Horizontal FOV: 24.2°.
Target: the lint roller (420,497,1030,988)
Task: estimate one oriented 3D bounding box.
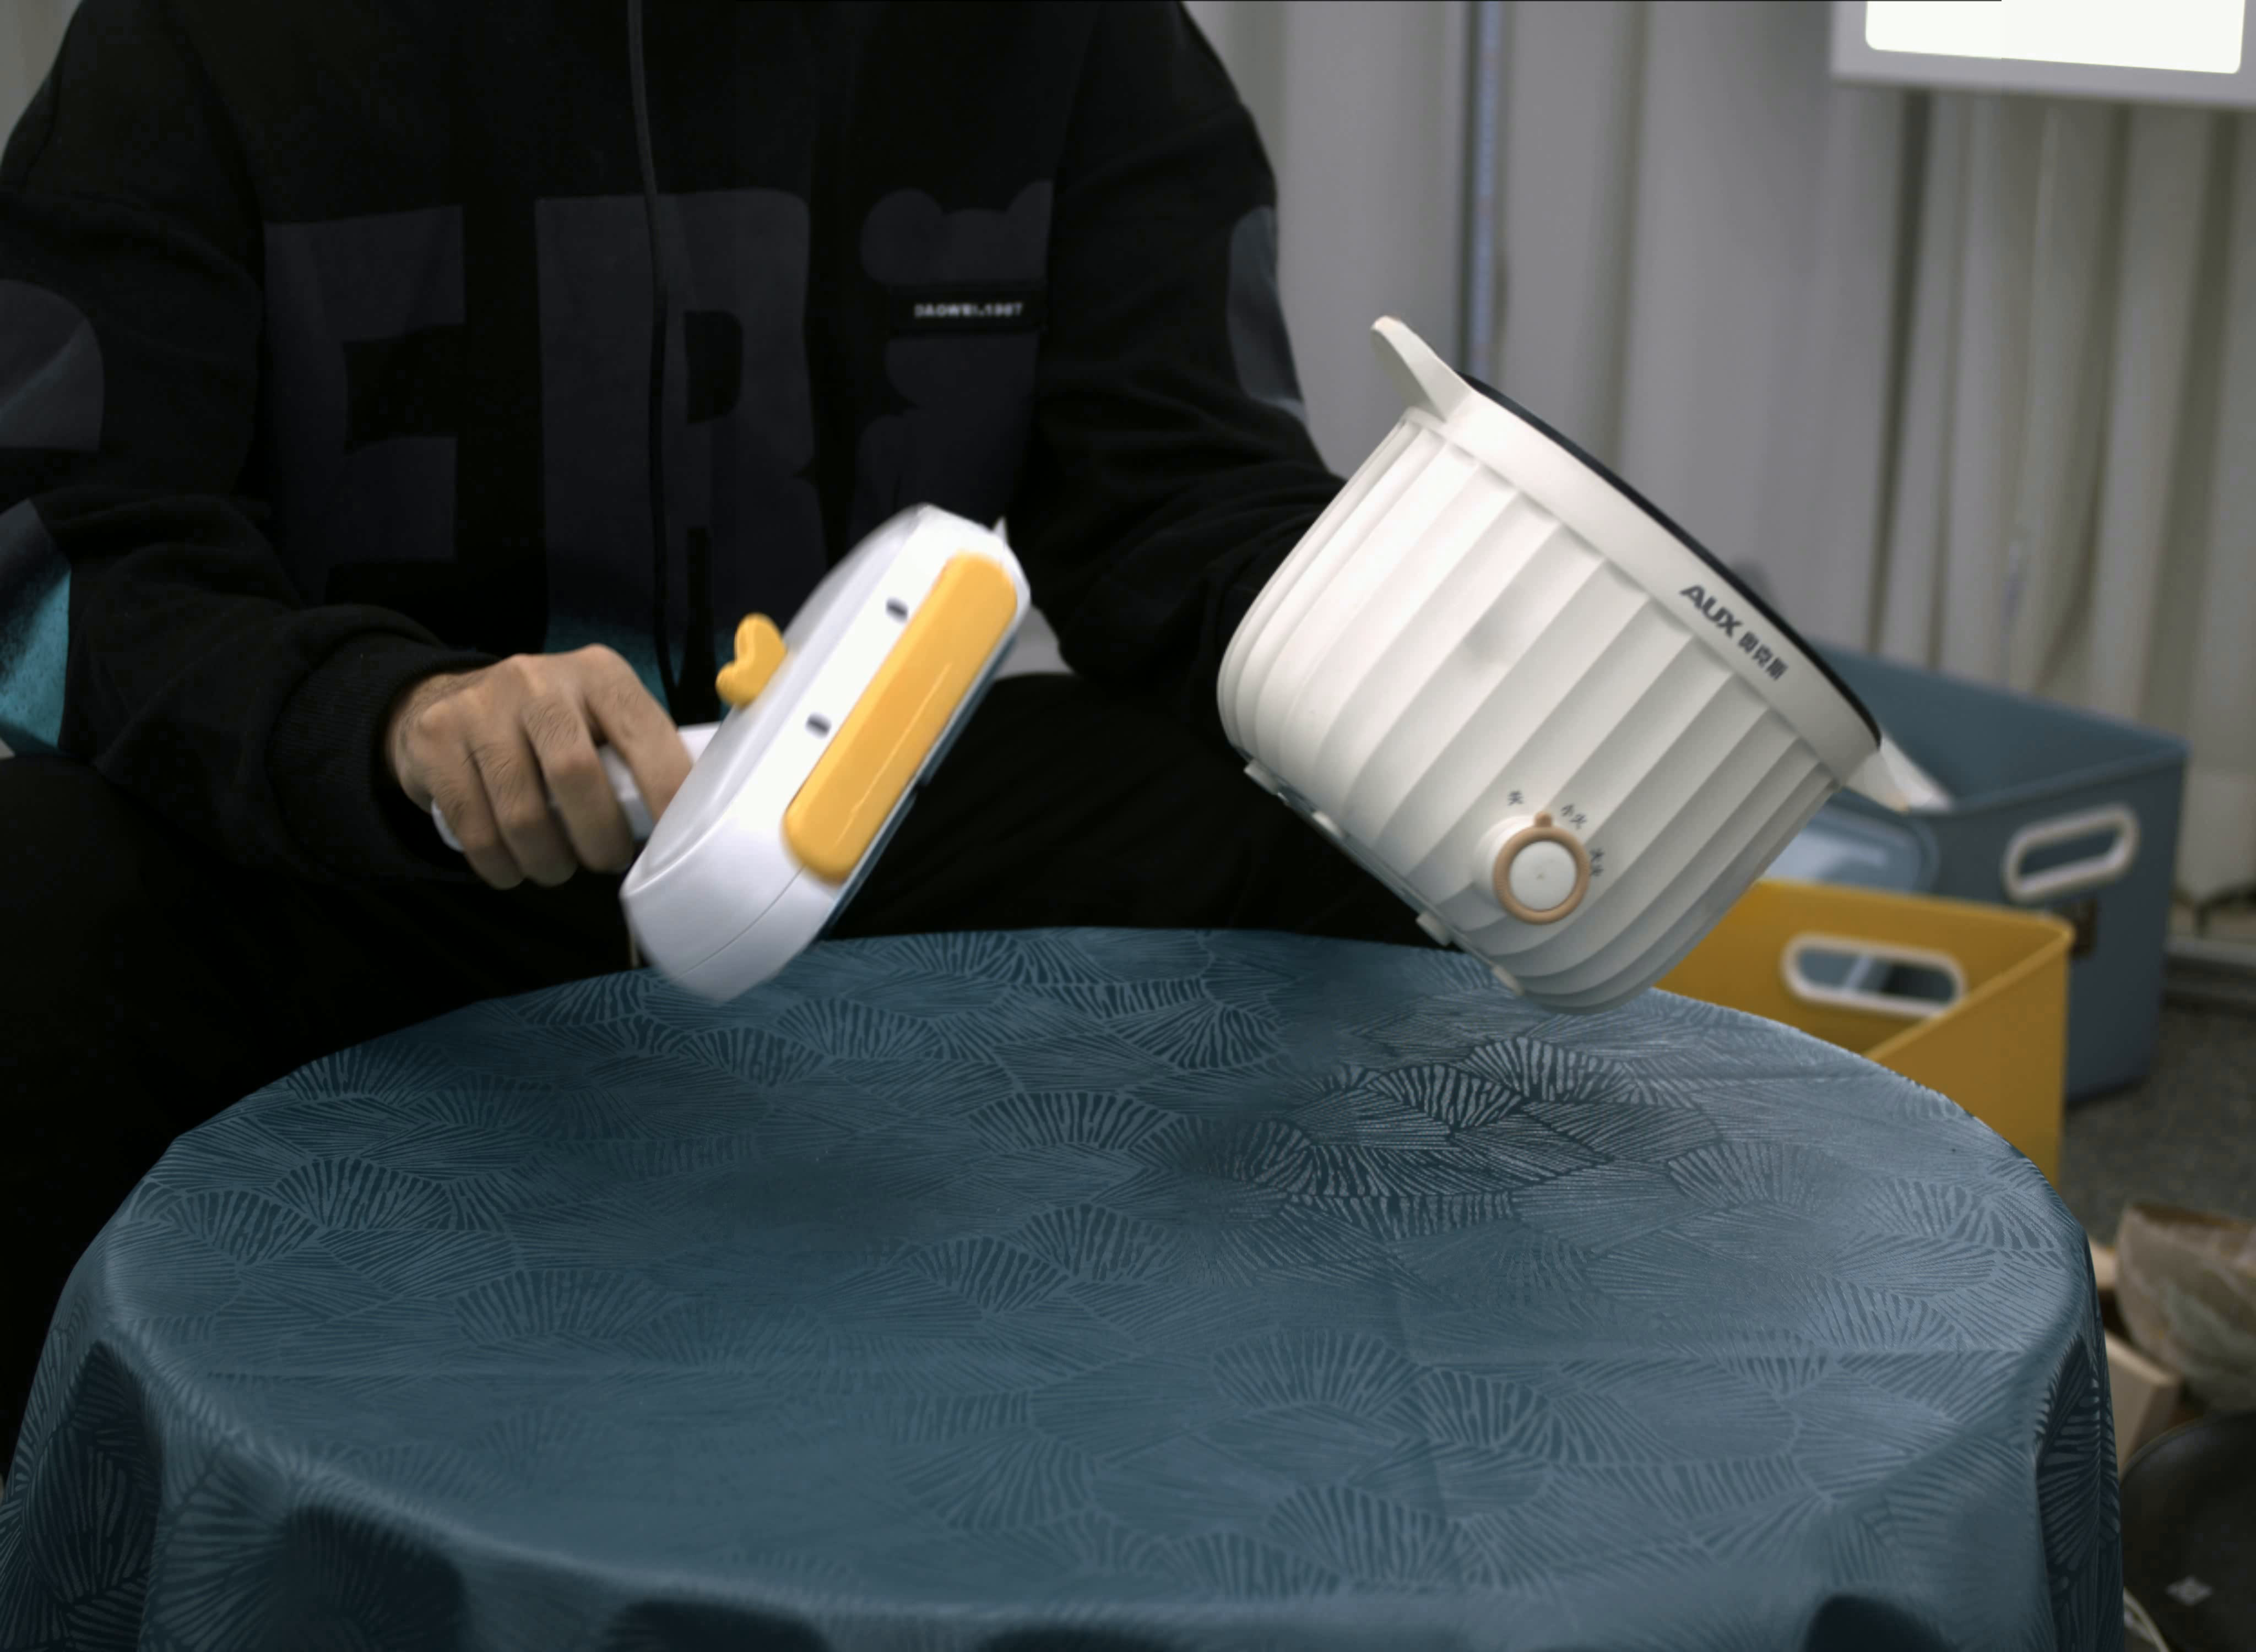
[{"bbox_3d":[-0.136,-0.015,1.625,0.191,0.075,0.192,-21,30,37],"label":"lint roller"}]

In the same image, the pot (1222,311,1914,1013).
[{"bbox_3d":[0.127,-0.033,1.643,0.242,0.142,0.189,39,-4,-19],"label":"pot"}]
